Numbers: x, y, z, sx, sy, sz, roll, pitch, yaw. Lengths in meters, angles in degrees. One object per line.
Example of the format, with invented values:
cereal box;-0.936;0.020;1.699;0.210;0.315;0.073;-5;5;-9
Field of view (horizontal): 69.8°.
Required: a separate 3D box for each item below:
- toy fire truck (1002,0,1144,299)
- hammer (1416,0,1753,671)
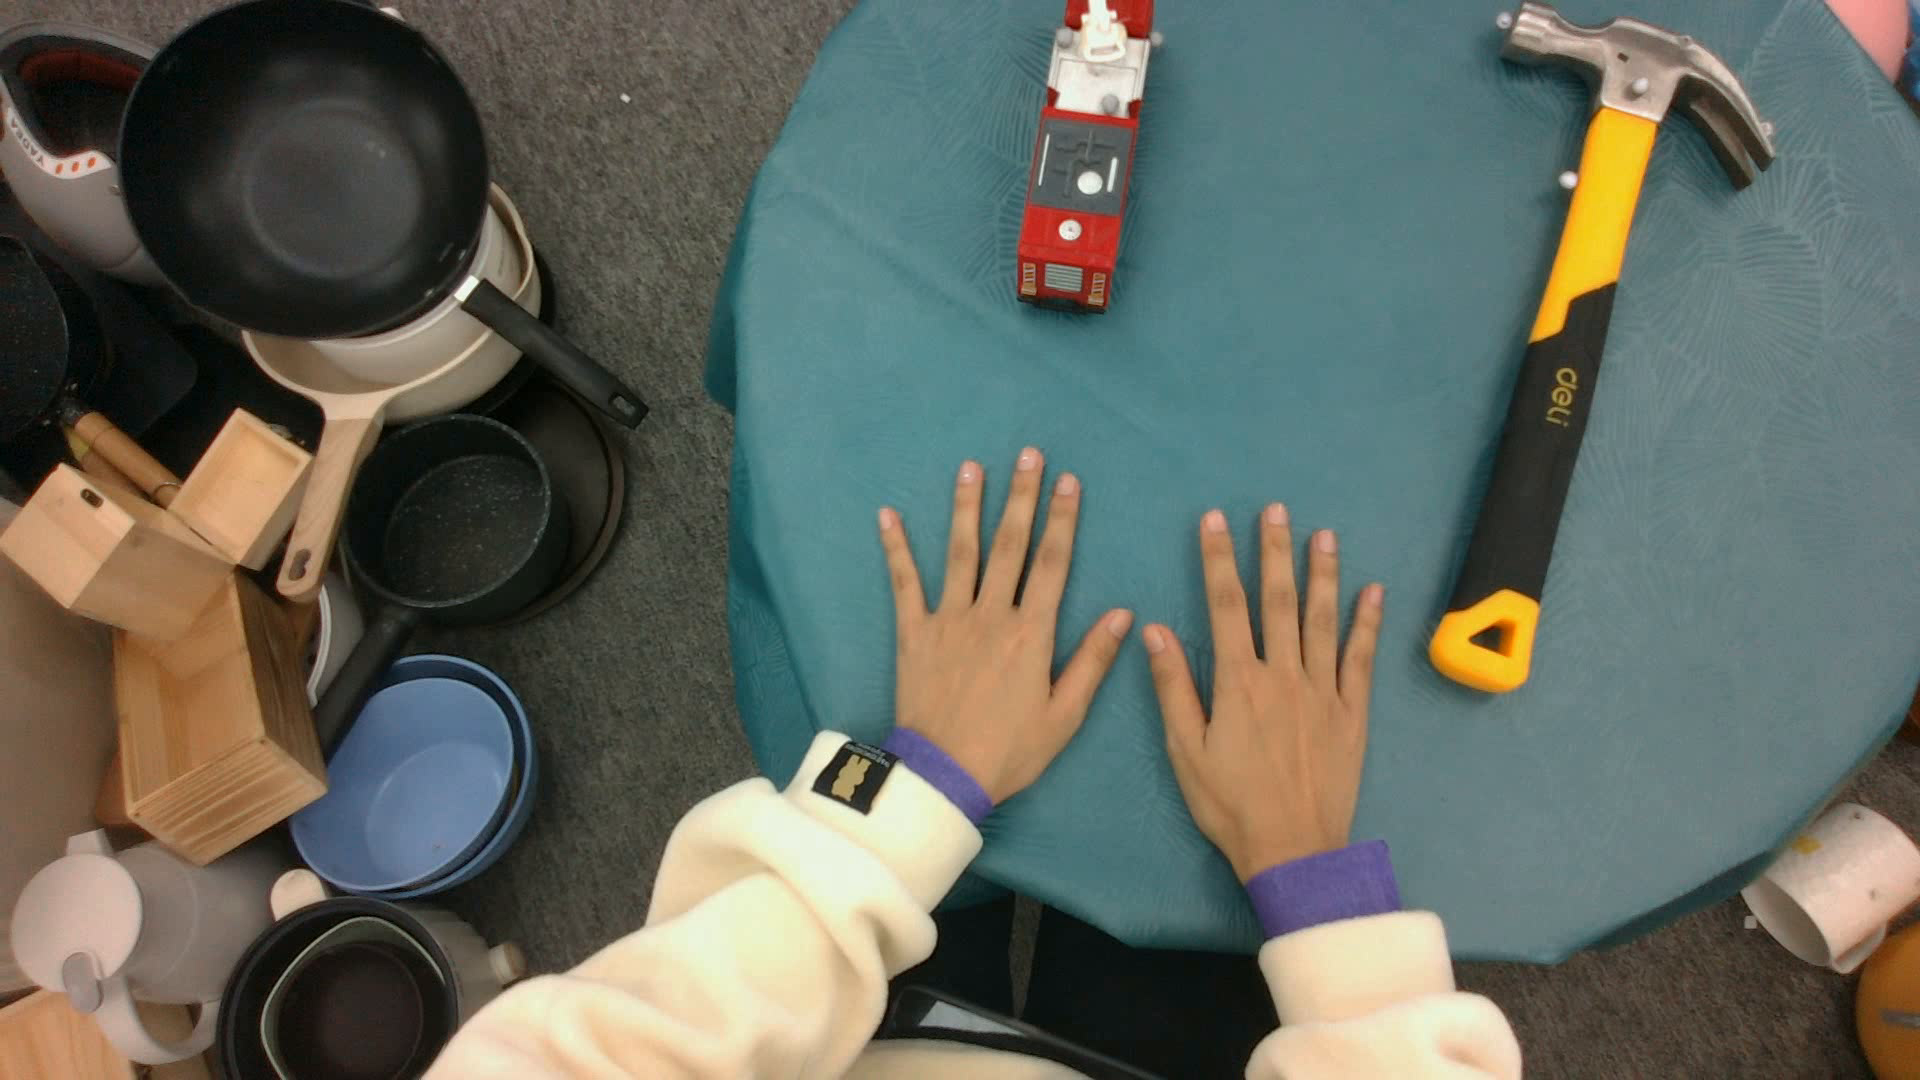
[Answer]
toy fire truck;0.055;-0.202;0.666;0.054;0.070;0.168;9;78;4
hammer;0.276;-0.100;0.645;0.131;0.032;0.339;19;76;5
